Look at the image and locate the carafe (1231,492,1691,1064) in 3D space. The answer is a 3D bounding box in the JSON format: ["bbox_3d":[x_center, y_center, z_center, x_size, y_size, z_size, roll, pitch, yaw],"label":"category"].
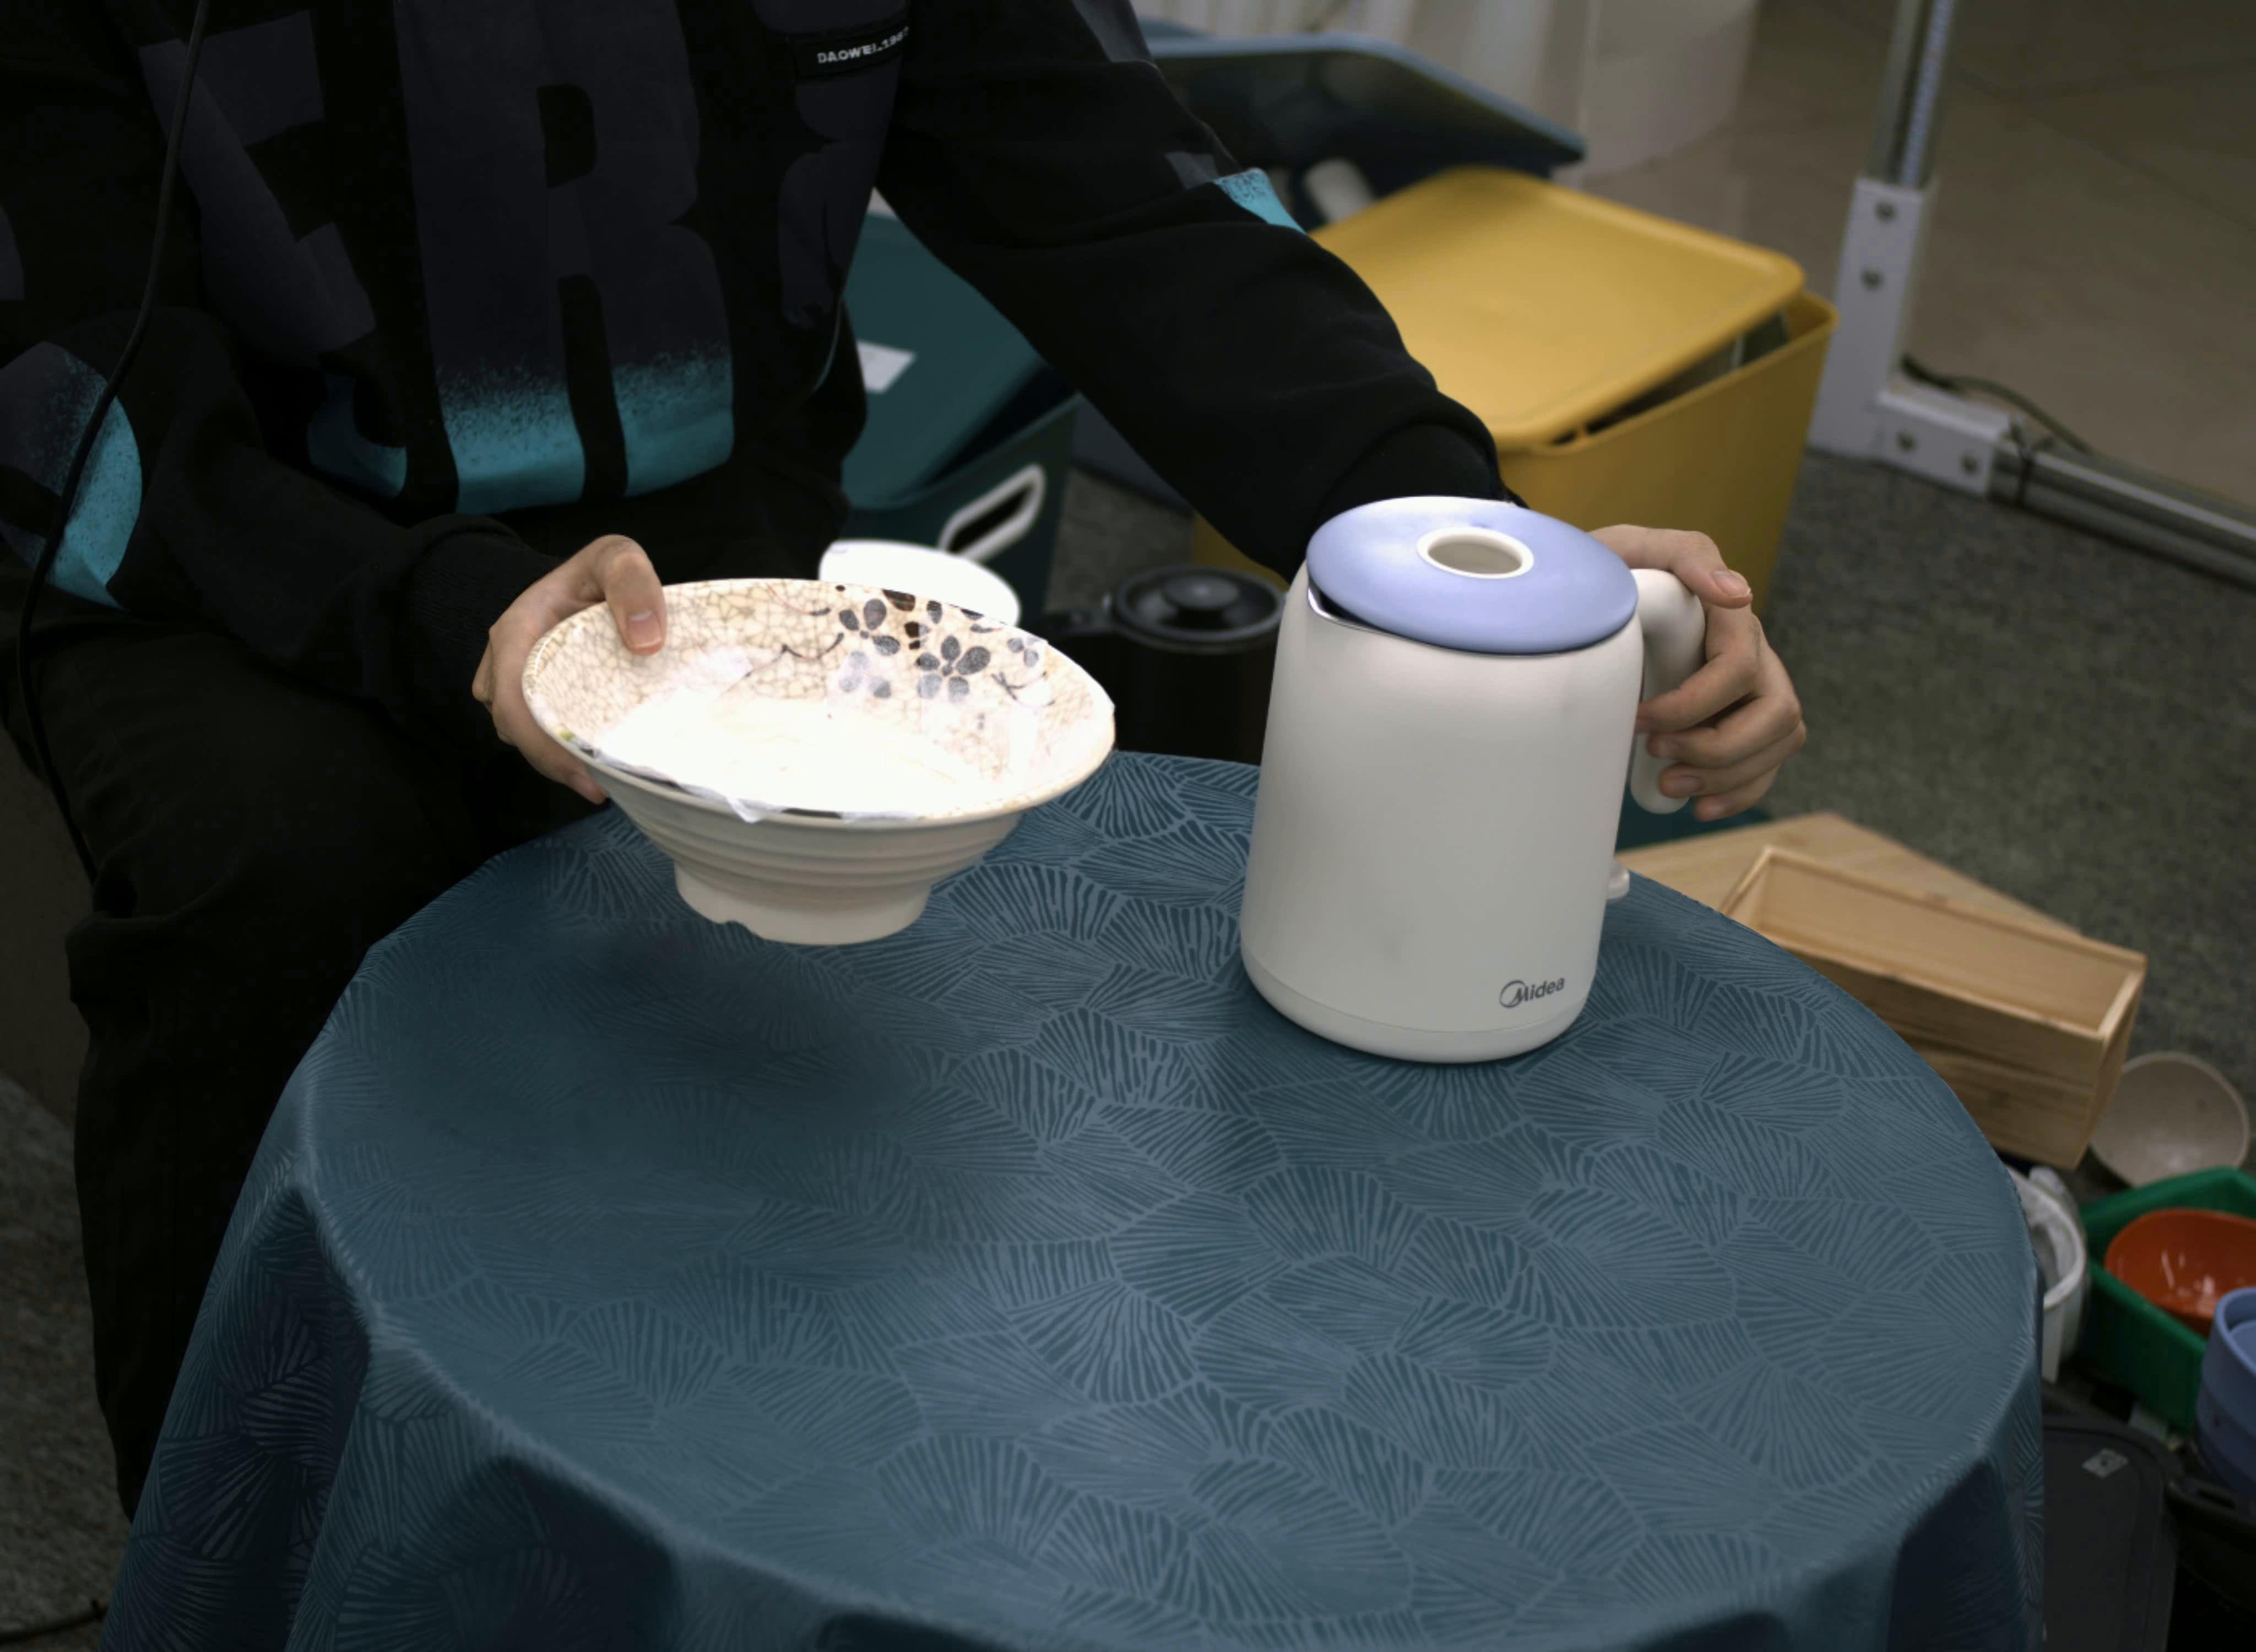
[{"bbox_3d":[0.131,-0.022,1.927,0.190,0.182,0.133,-11,33,-36],"label":"carafe"}]

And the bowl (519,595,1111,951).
[{"bbox_3d":[-0.110,-0.009,1.828,0.203,0.078,0.205,5,21,-2],"label":"bowl"}]
